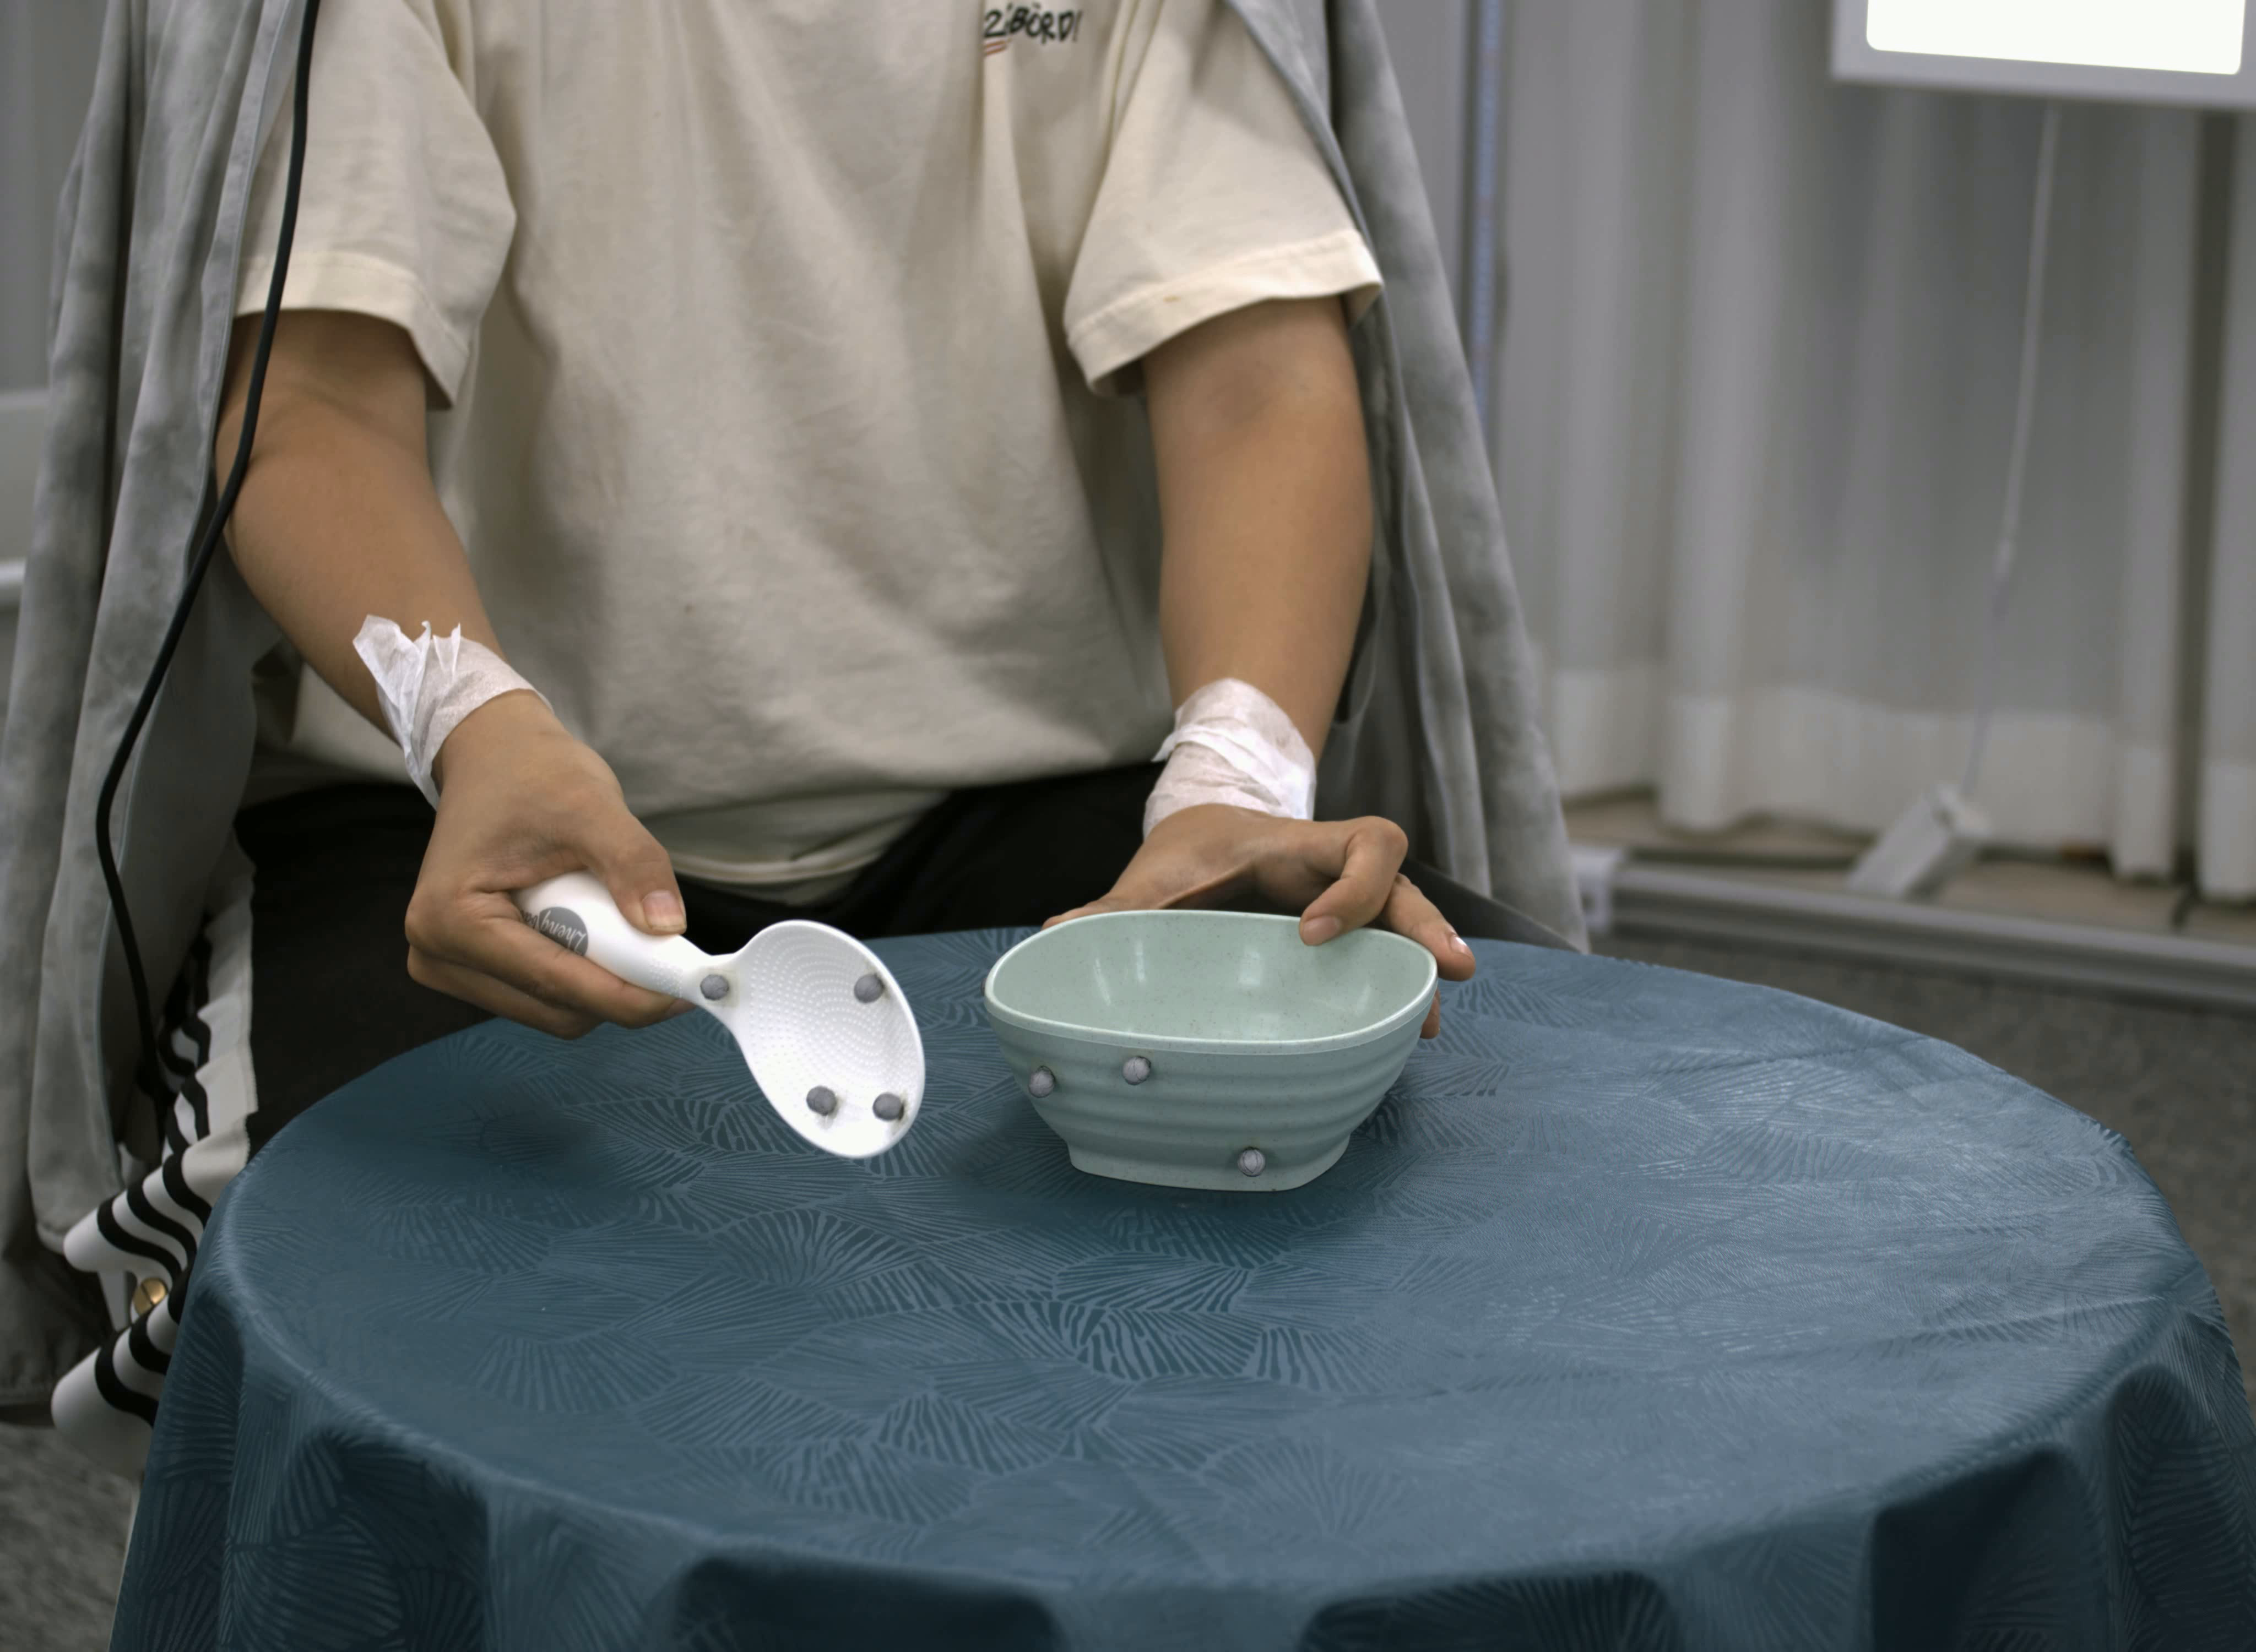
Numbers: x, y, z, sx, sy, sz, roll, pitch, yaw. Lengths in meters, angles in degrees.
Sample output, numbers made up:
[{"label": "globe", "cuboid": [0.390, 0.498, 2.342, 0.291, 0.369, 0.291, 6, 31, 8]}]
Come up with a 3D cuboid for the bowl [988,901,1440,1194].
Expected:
[{"label": "bowl", "cuboid": [0.028, 0.073, 1.660, 0.151, 0.059, 0.150, -1, 18, 1]}]

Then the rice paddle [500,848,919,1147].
[{"label": "rice paddle", "cuboid": [-0.125, 0.046, 1.595, 0.029, 0.069, 0.202, -13, 22, -36]}]
